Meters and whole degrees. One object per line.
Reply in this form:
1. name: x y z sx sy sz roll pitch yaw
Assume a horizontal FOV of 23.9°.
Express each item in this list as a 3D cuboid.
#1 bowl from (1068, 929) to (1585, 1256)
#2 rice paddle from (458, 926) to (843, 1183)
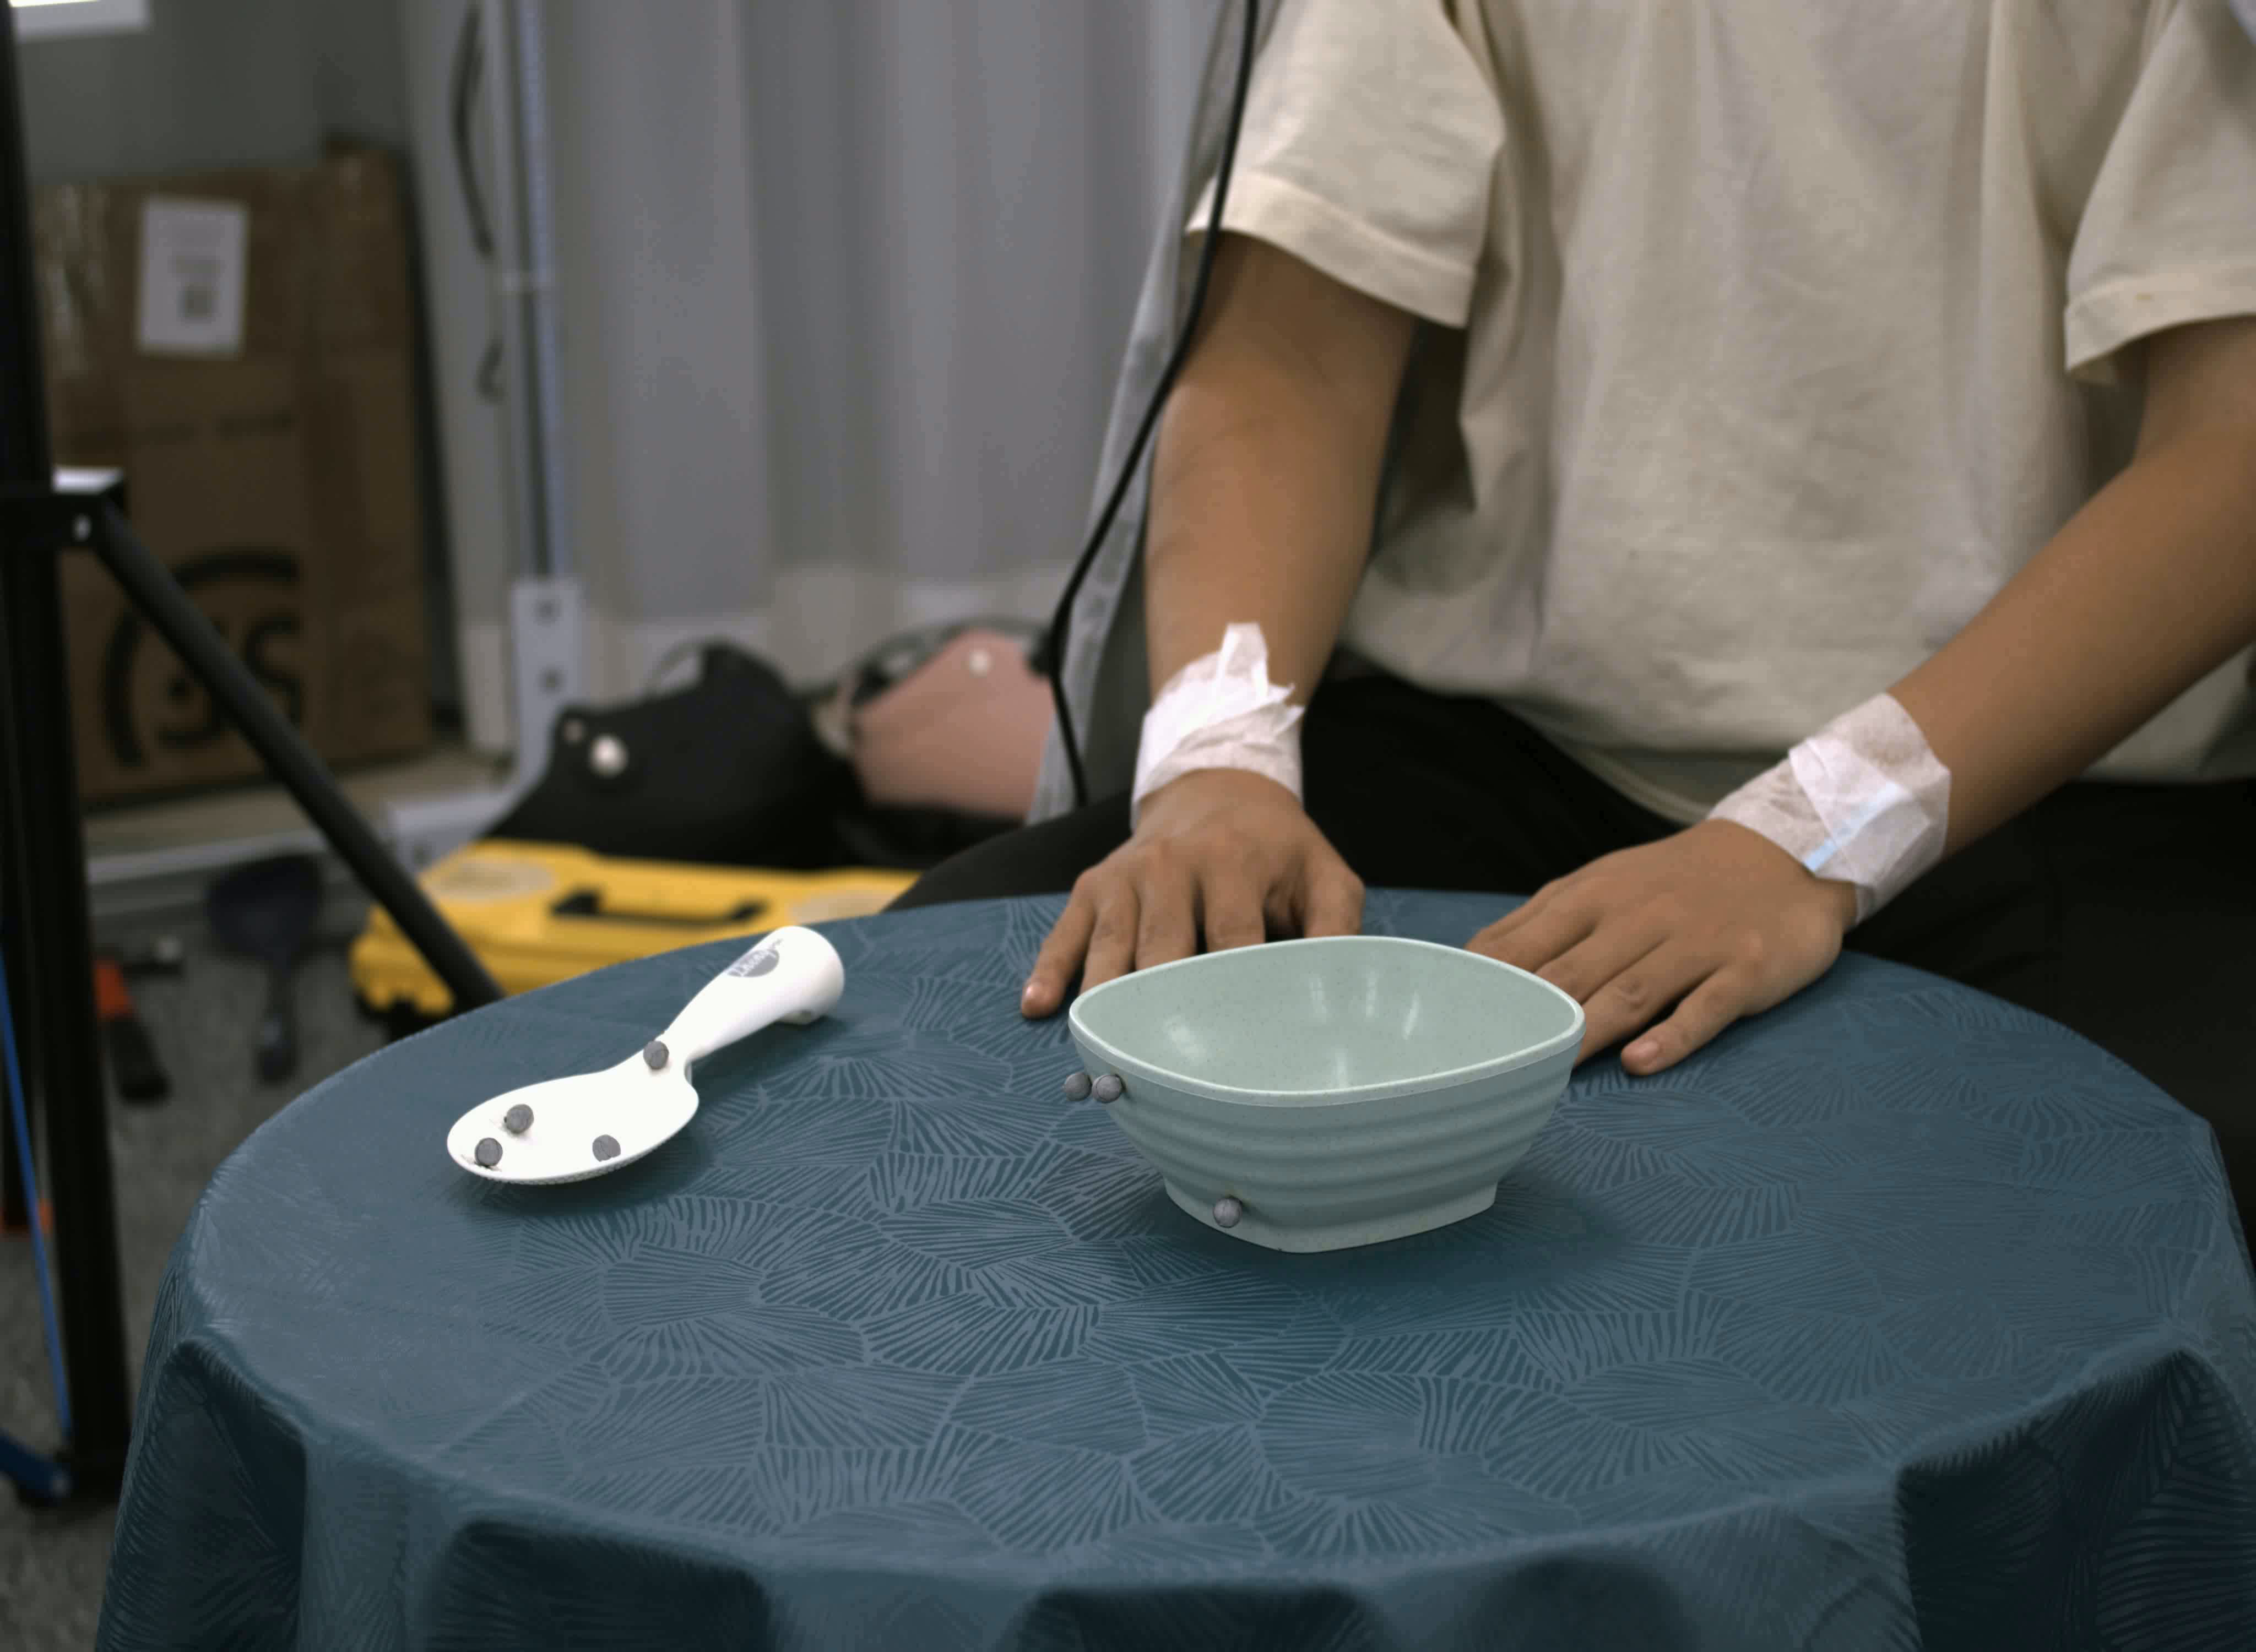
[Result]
1. bowl: 0.059 0.080 1.537 0.151 0.058 0.152 -5 16 0
2. rice paddle: -0.142 0.073 1.647 0.069 0.029 0.202 2 16 22
